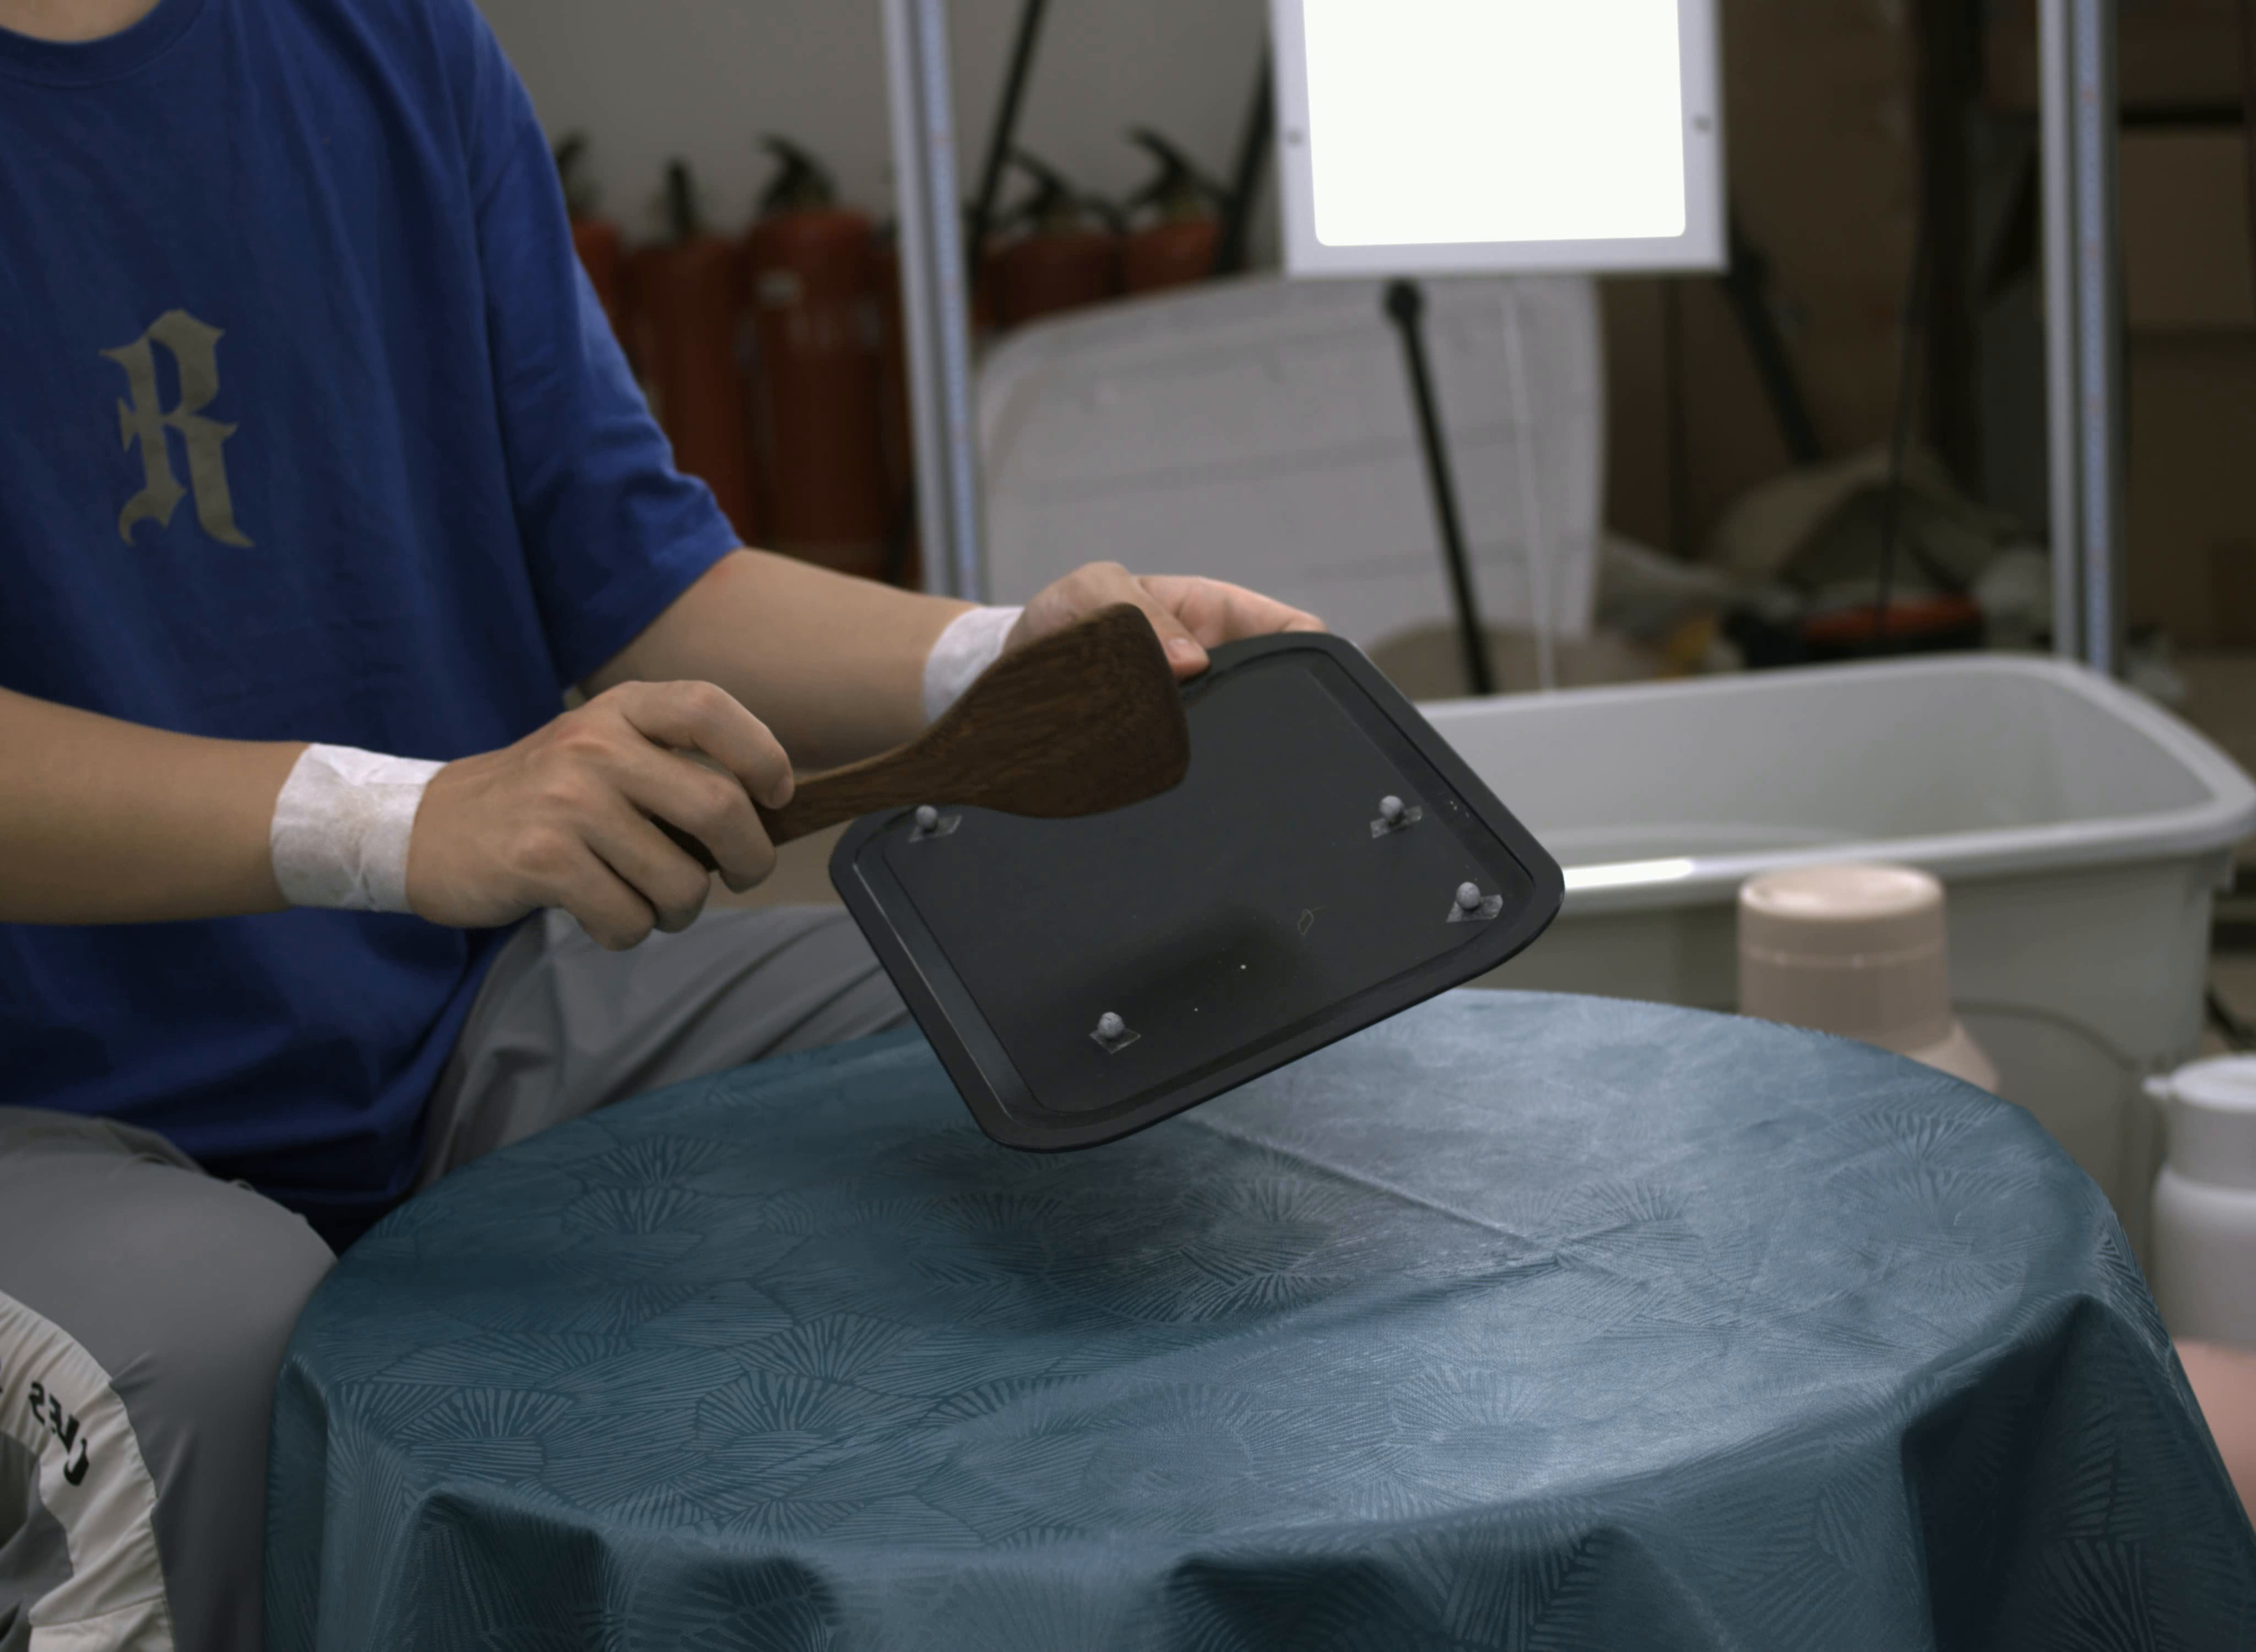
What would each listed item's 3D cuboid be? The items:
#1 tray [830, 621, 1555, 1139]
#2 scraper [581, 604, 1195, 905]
[{"bbox_3d":[0.012,0.009,1.904,0.210,0.010,0.328,-25,26,-4],"label":"tray"},{"bbox_3d":[-0.082,-0.014,1.851,0.212,0.075,0.011,-17,29,8],"label":"scraper"}]
